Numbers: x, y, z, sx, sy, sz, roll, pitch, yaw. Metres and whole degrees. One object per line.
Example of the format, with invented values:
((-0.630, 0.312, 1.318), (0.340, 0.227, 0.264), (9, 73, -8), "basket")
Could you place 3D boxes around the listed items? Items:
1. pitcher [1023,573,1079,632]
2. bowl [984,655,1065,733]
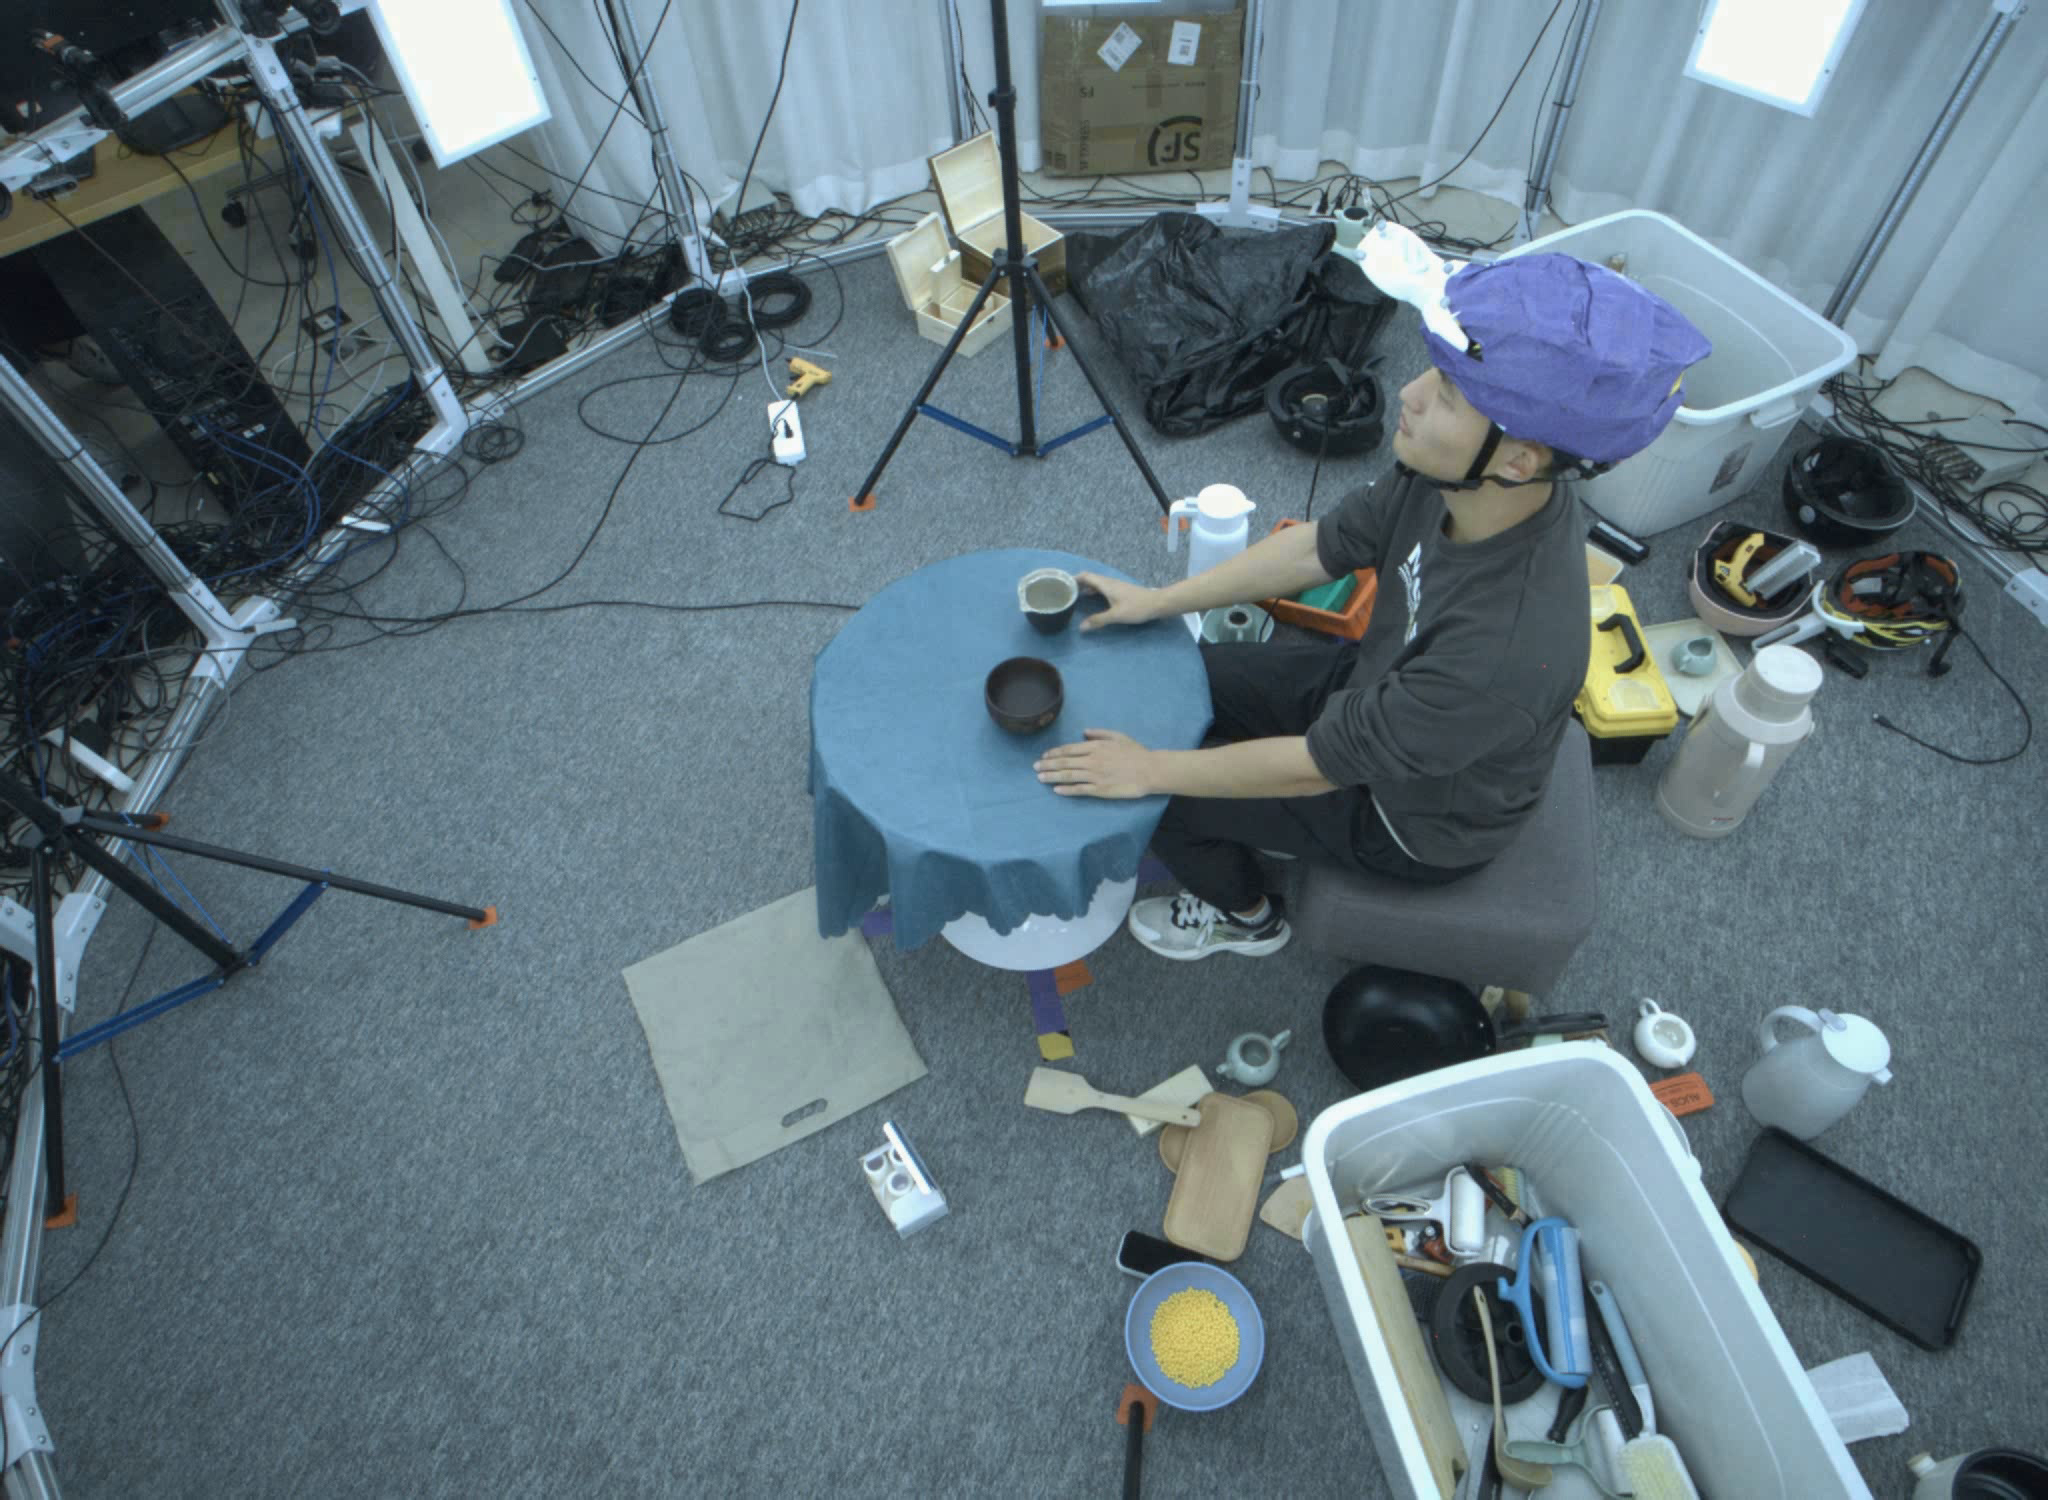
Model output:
((0.038, -0.221, 1.895), (0.097, 0.072, 0.082), (-32, 61, -20), "pitcher")
((0.002, -0.074, 1.793), (0.118, 0.070, 0.117), (-1, 53, 3), "bowl")
